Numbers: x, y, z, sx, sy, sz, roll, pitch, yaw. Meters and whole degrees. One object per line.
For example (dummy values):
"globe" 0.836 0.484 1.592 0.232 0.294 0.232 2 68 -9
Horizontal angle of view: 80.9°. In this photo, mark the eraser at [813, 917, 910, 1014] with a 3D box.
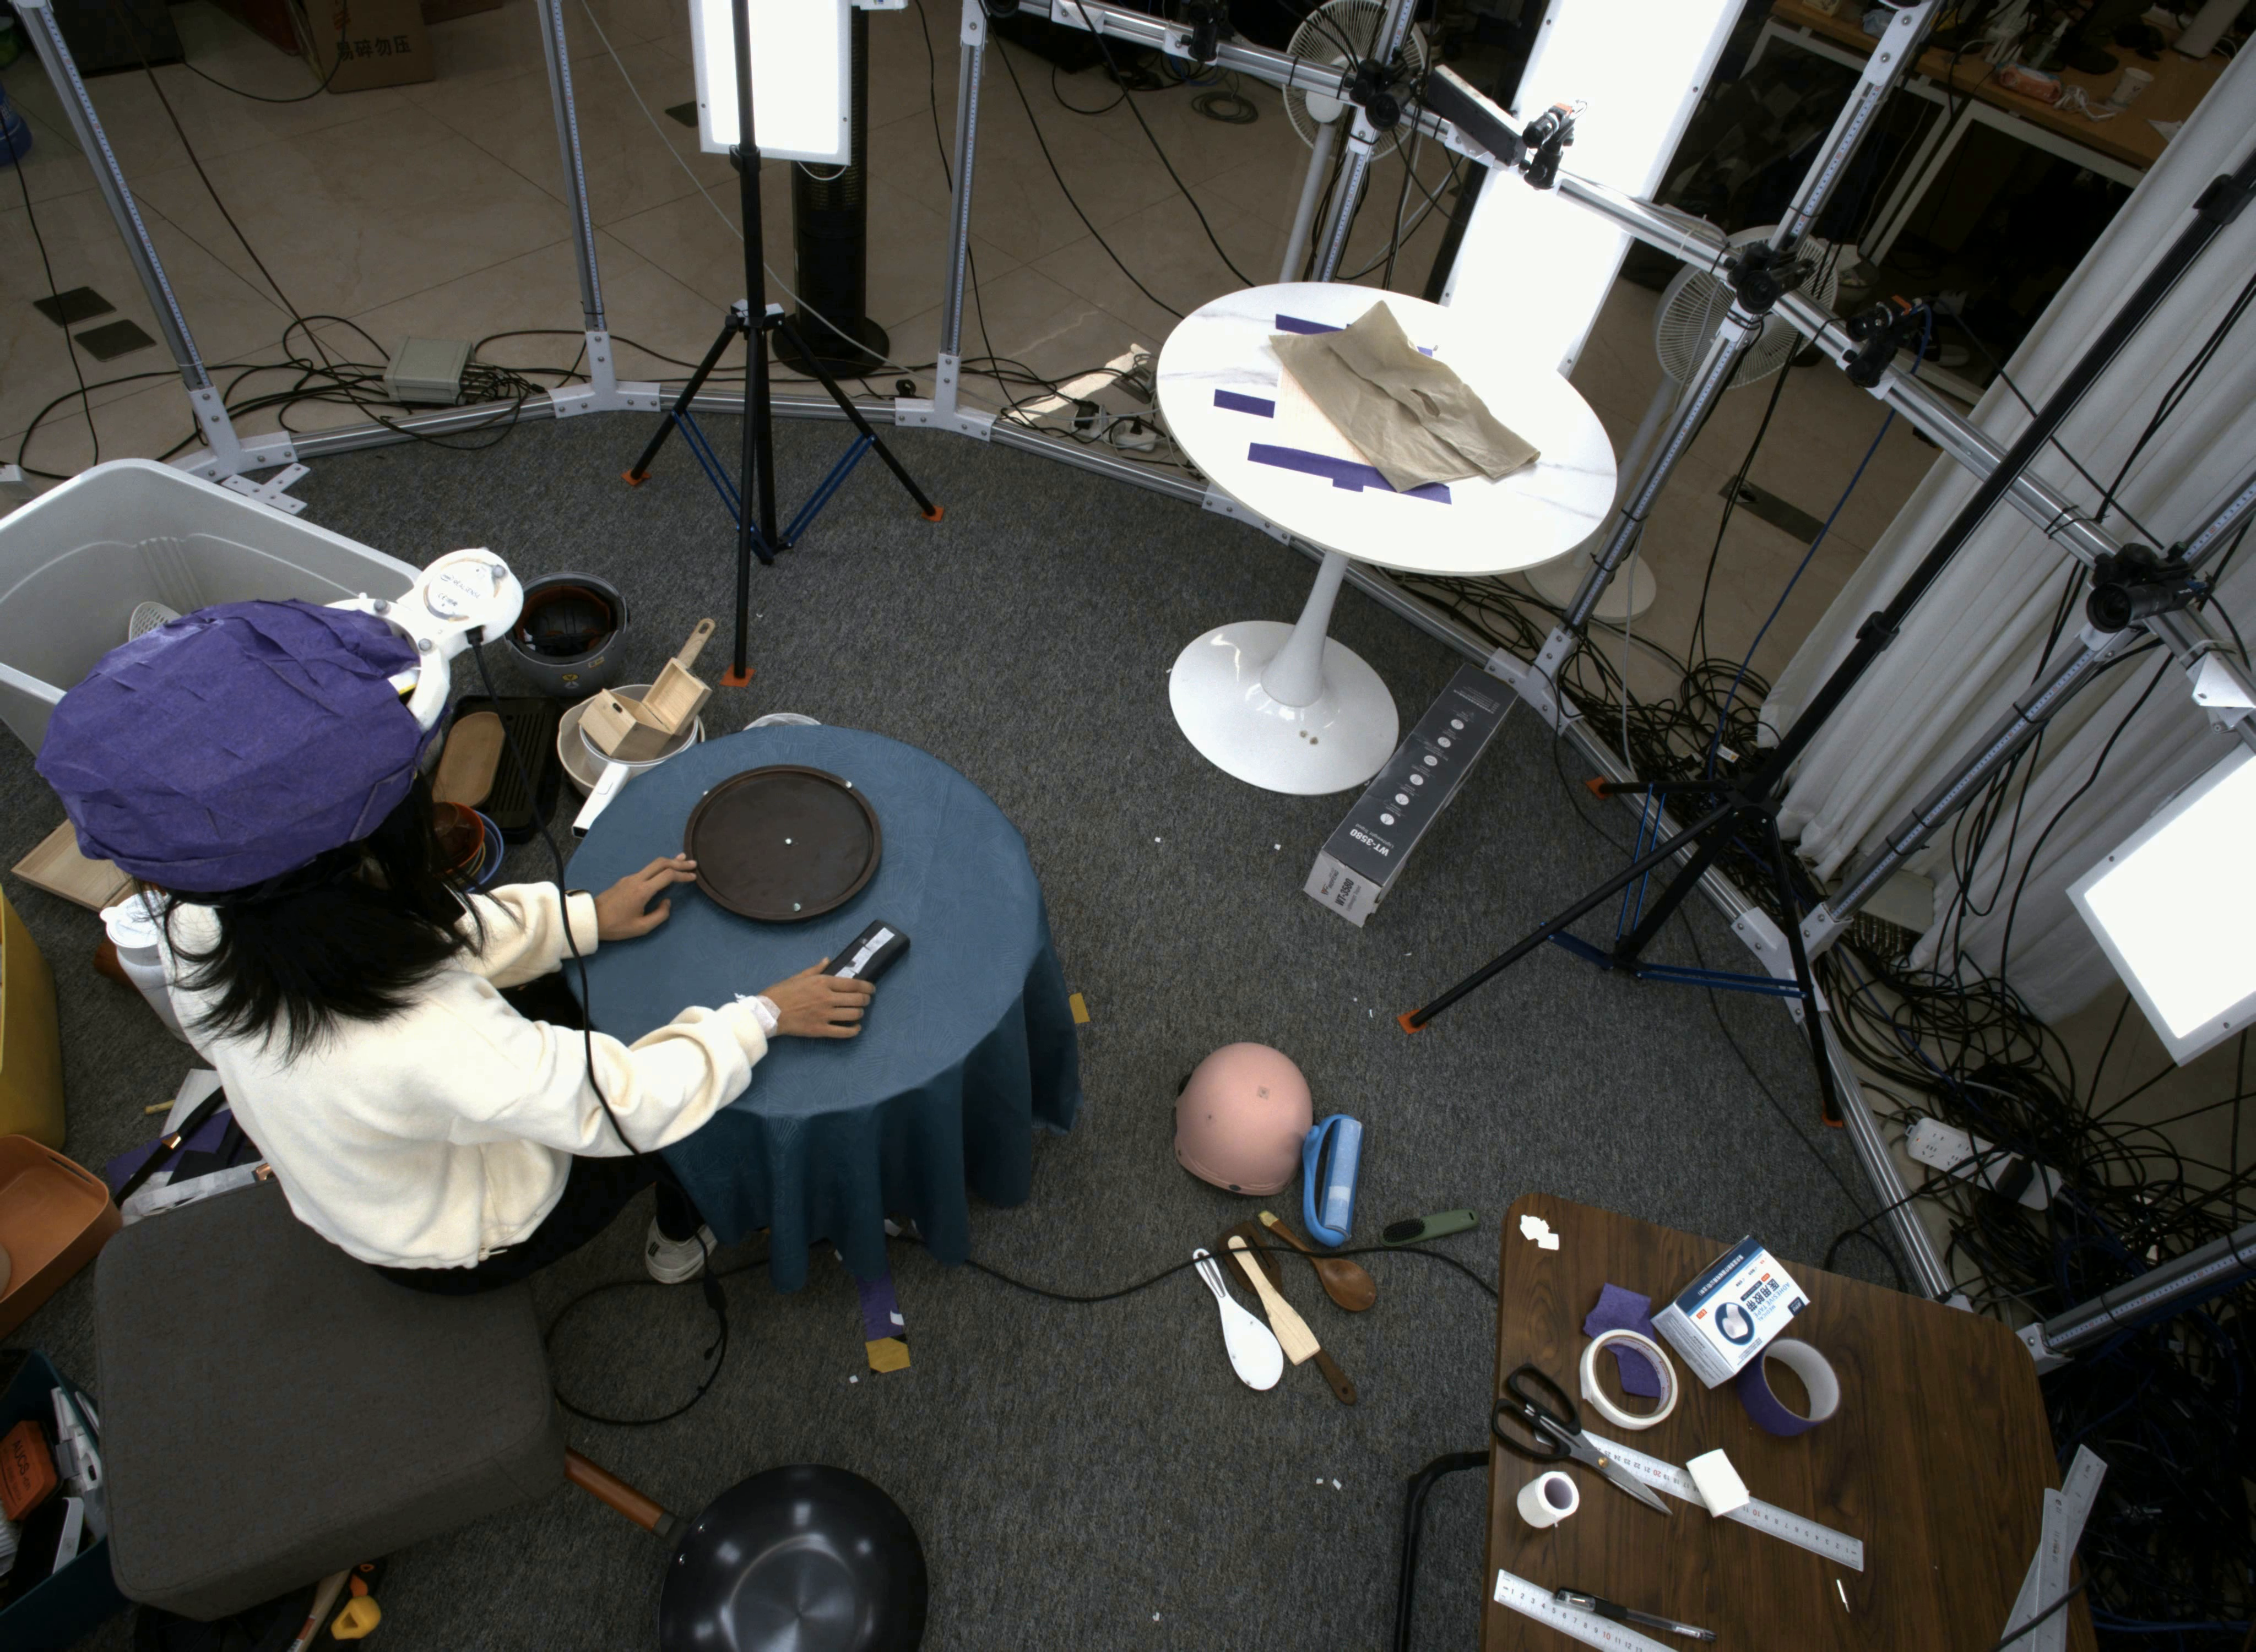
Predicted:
"eraser" -0.327 0.168 1.602 0.052 0.031 0.125 31 54 13

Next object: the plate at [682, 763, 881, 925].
"plate" -0.448 0.021 1.681 0.254 0.029 0.250 9 51 -10
